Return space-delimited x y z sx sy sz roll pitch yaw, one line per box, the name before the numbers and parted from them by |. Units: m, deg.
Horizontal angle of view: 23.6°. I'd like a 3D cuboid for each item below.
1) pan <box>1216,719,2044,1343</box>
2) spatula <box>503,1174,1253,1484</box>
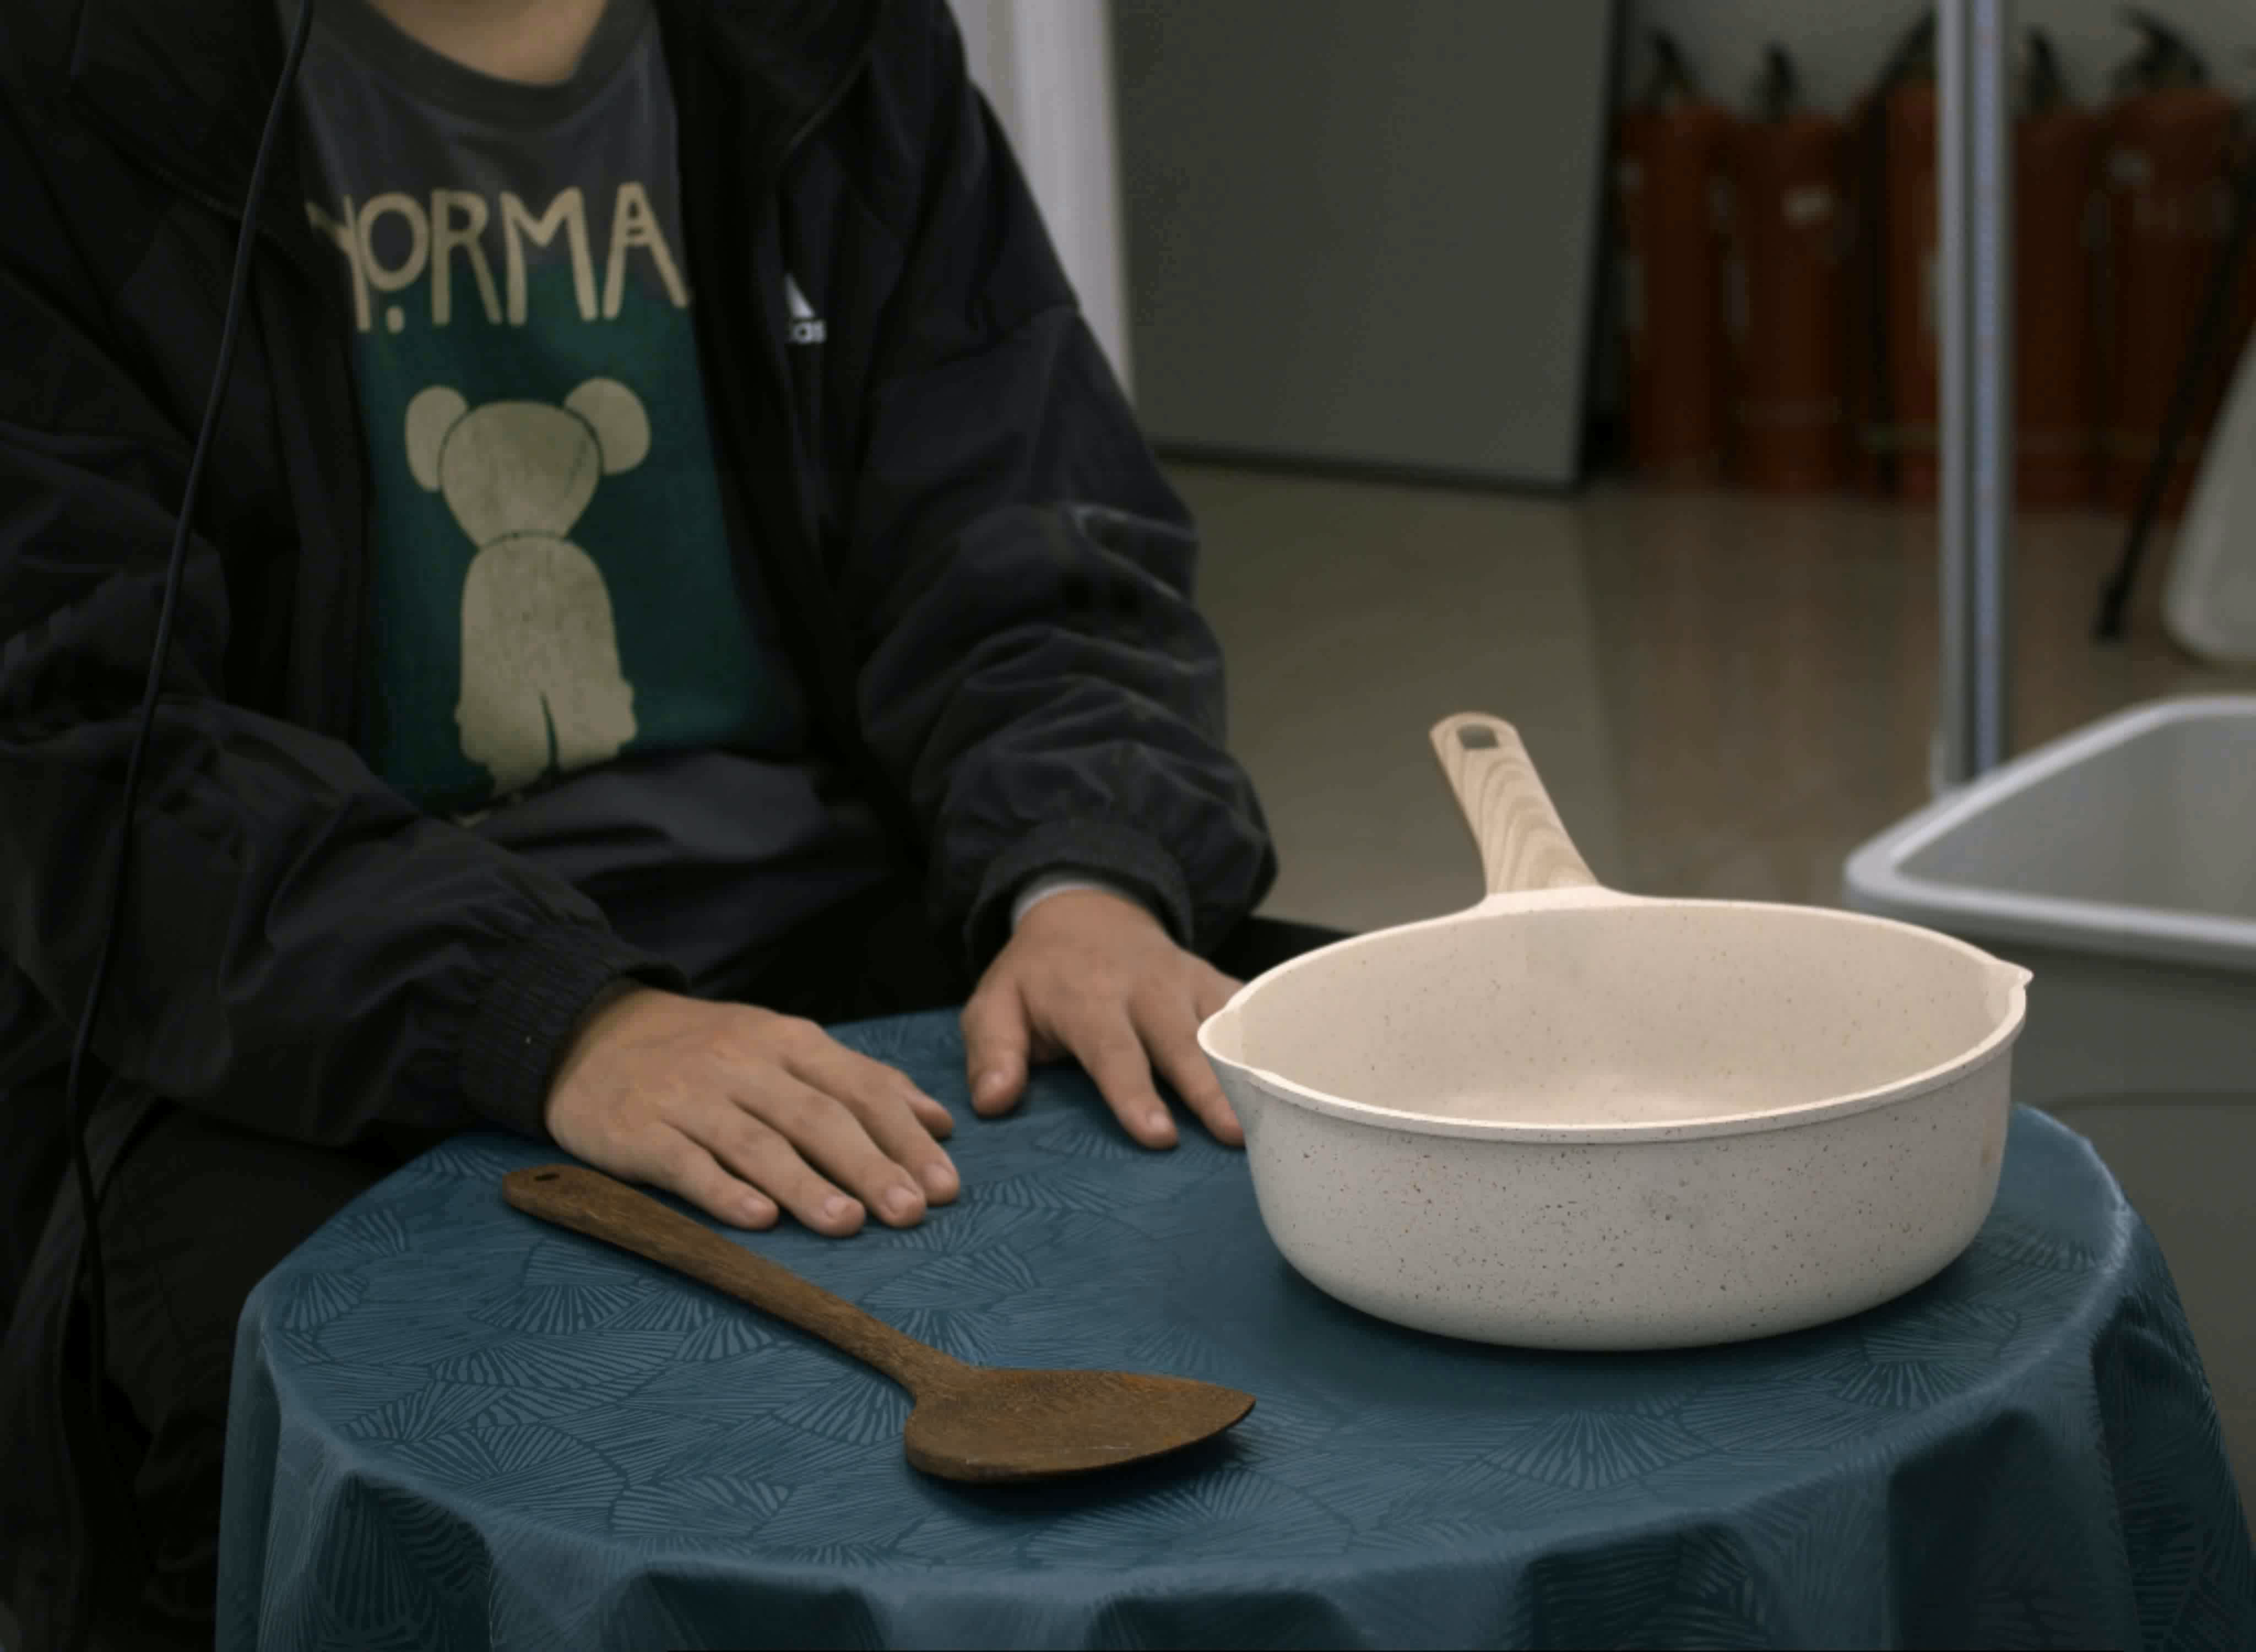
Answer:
pan | 0.150 0.061 1.756 0.259 0.103 0.436 -7 14 -3
spatula | -0.099 0.149 1.660 0.094 0.016 0.390 -12 15 -31
